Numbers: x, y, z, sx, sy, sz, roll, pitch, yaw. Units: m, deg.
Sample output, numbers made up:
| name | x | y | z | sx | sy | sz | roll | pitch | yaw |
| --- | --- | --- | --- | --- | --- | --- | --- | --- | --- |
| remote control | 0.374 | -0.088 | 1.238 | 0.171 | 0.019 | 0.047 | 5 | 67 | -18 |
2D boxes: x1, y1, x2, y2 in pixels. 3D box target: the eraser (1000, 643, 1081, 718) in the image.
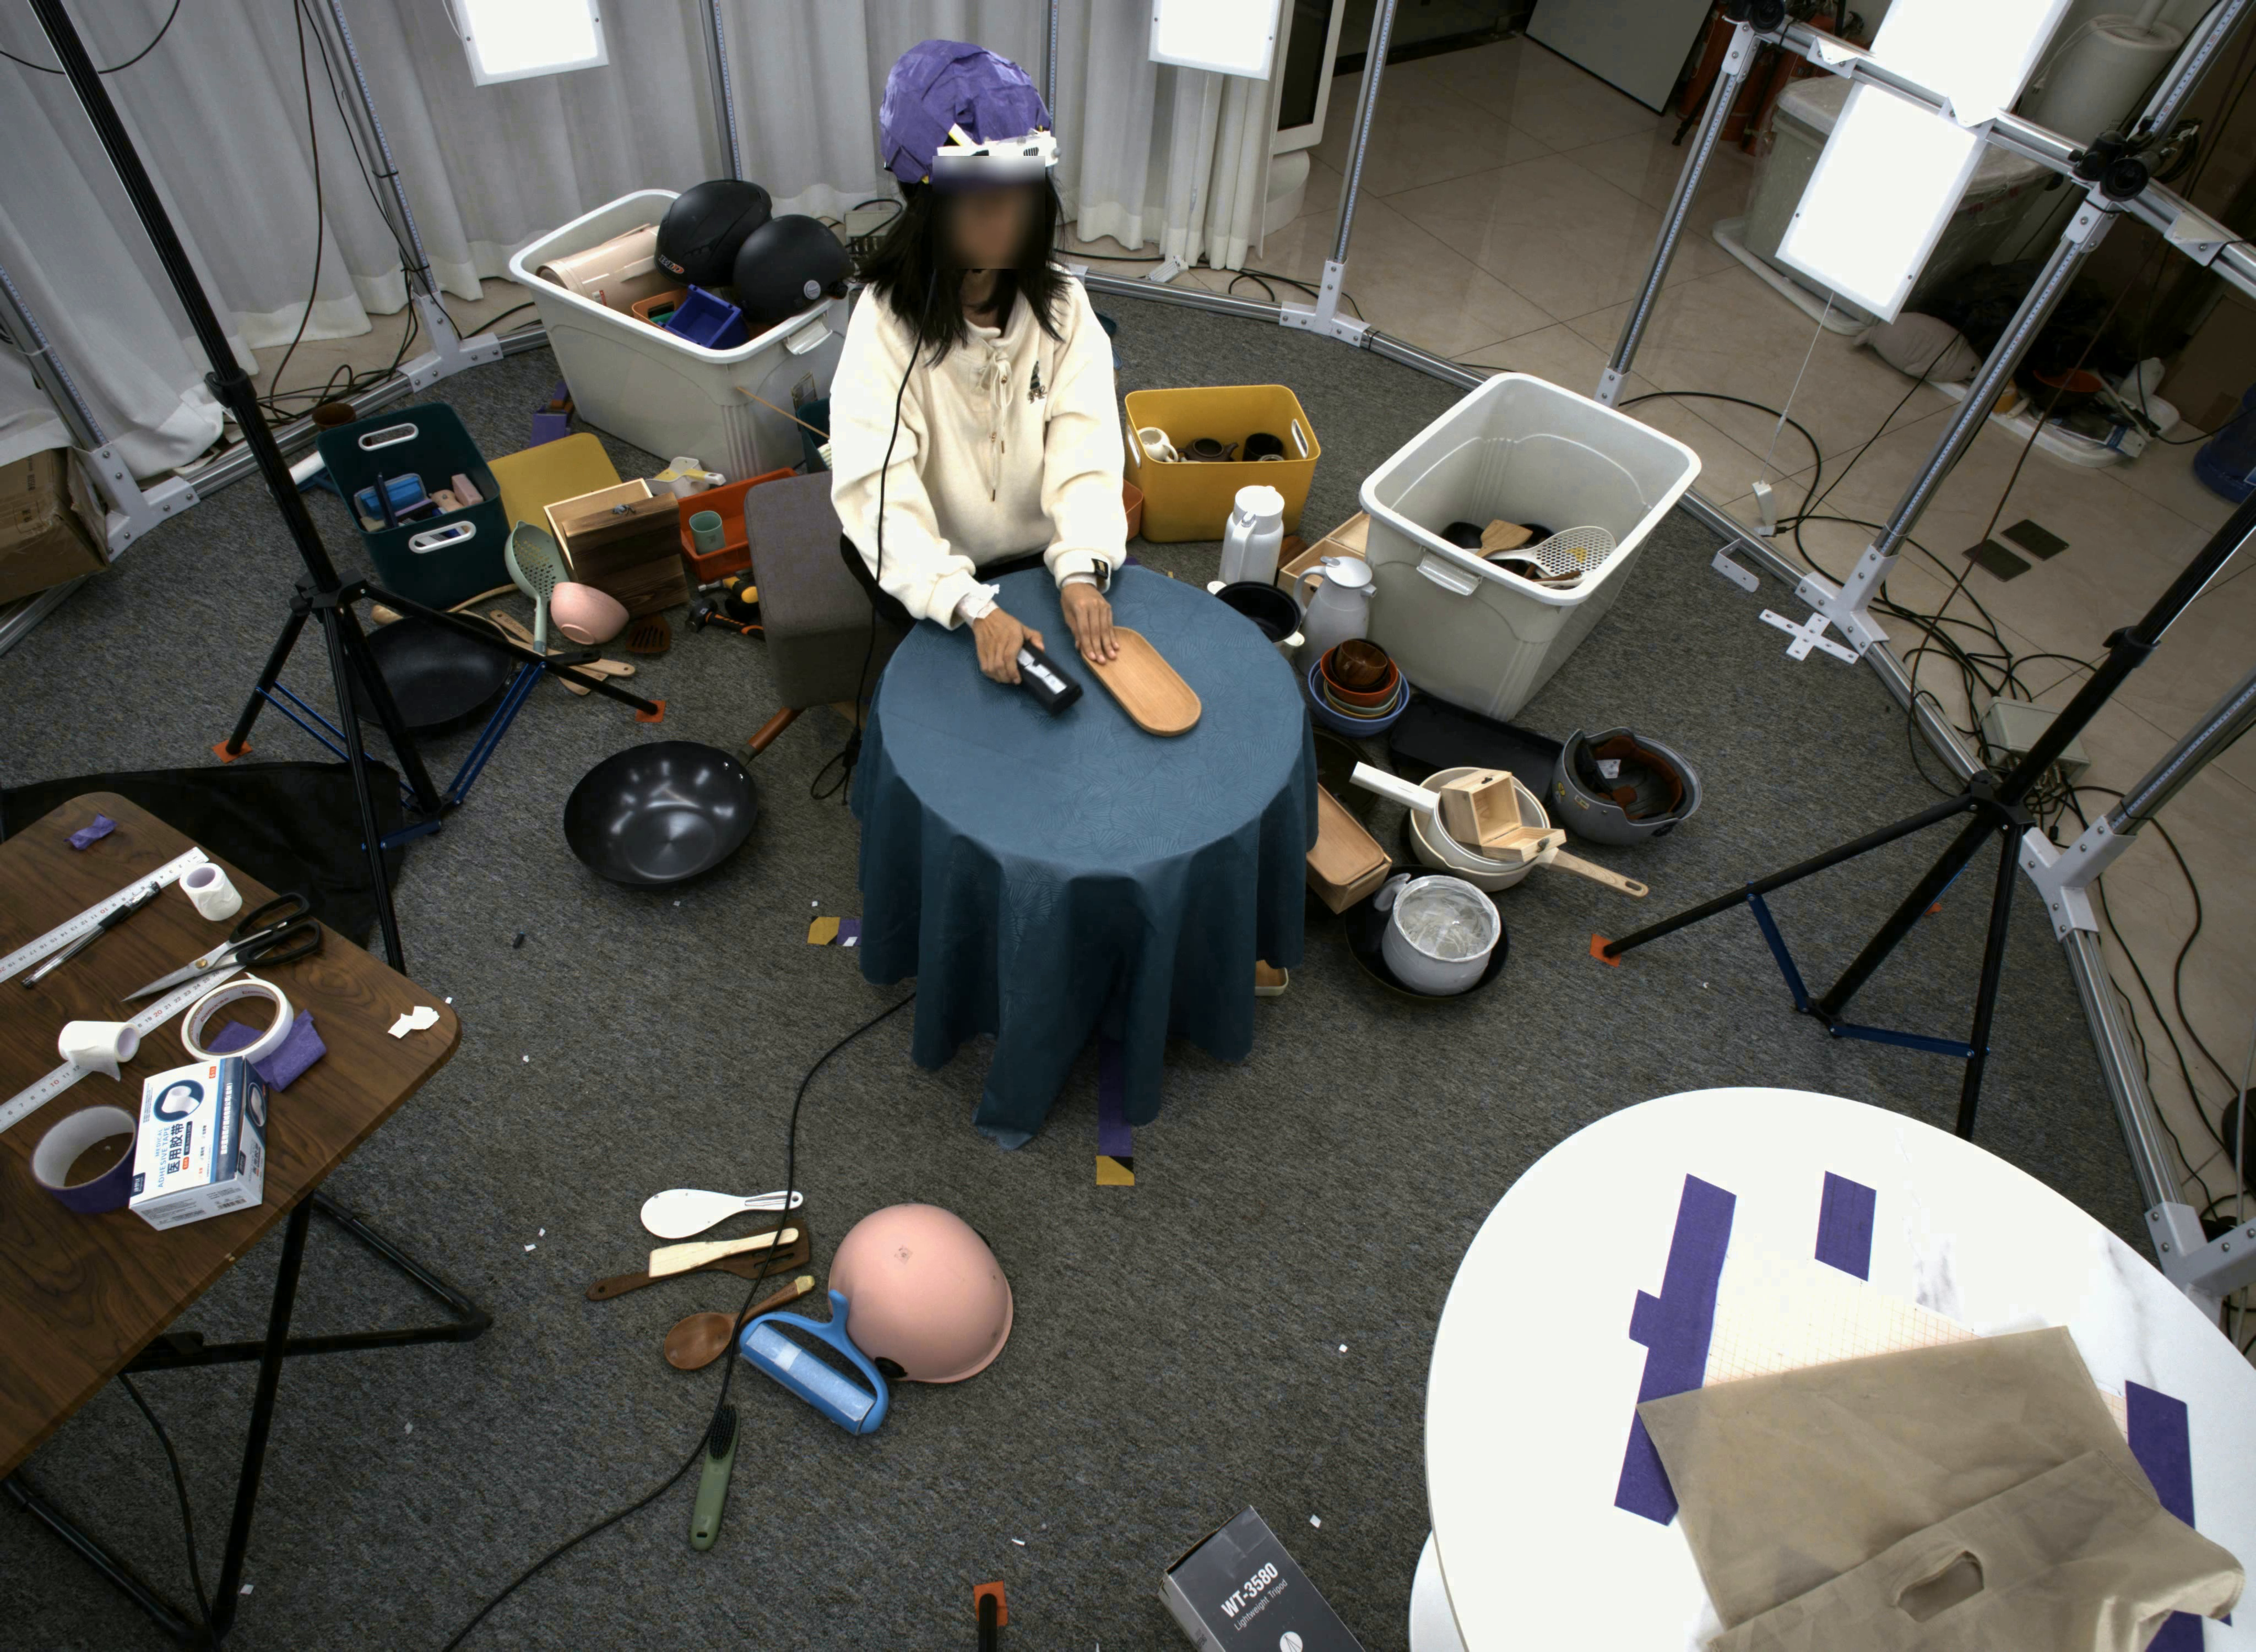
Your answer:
| name | x | y | z | sx | sy | sz | roll | pitch | yaw |
| --- | --- | --- | --- | --- | --- | --- | --- | --- | --- |
| eraser | -0.123 | -0.206 | 1.811 | 0.054 | 0.030 | 0.128 | -34 | 57 | -20 |

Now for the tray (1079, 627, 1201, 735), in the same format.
| name | x | y | z | sx | sy | sz | roll | pitch | yaw |
| --- | --- | --- | --- | --- | --- | --- | --- | --- | --- |
| tray | 0.015 | -0.210 | 1.843 | 0.102 | 0.020 | 0.236 | -25 | 53 | -24 |
